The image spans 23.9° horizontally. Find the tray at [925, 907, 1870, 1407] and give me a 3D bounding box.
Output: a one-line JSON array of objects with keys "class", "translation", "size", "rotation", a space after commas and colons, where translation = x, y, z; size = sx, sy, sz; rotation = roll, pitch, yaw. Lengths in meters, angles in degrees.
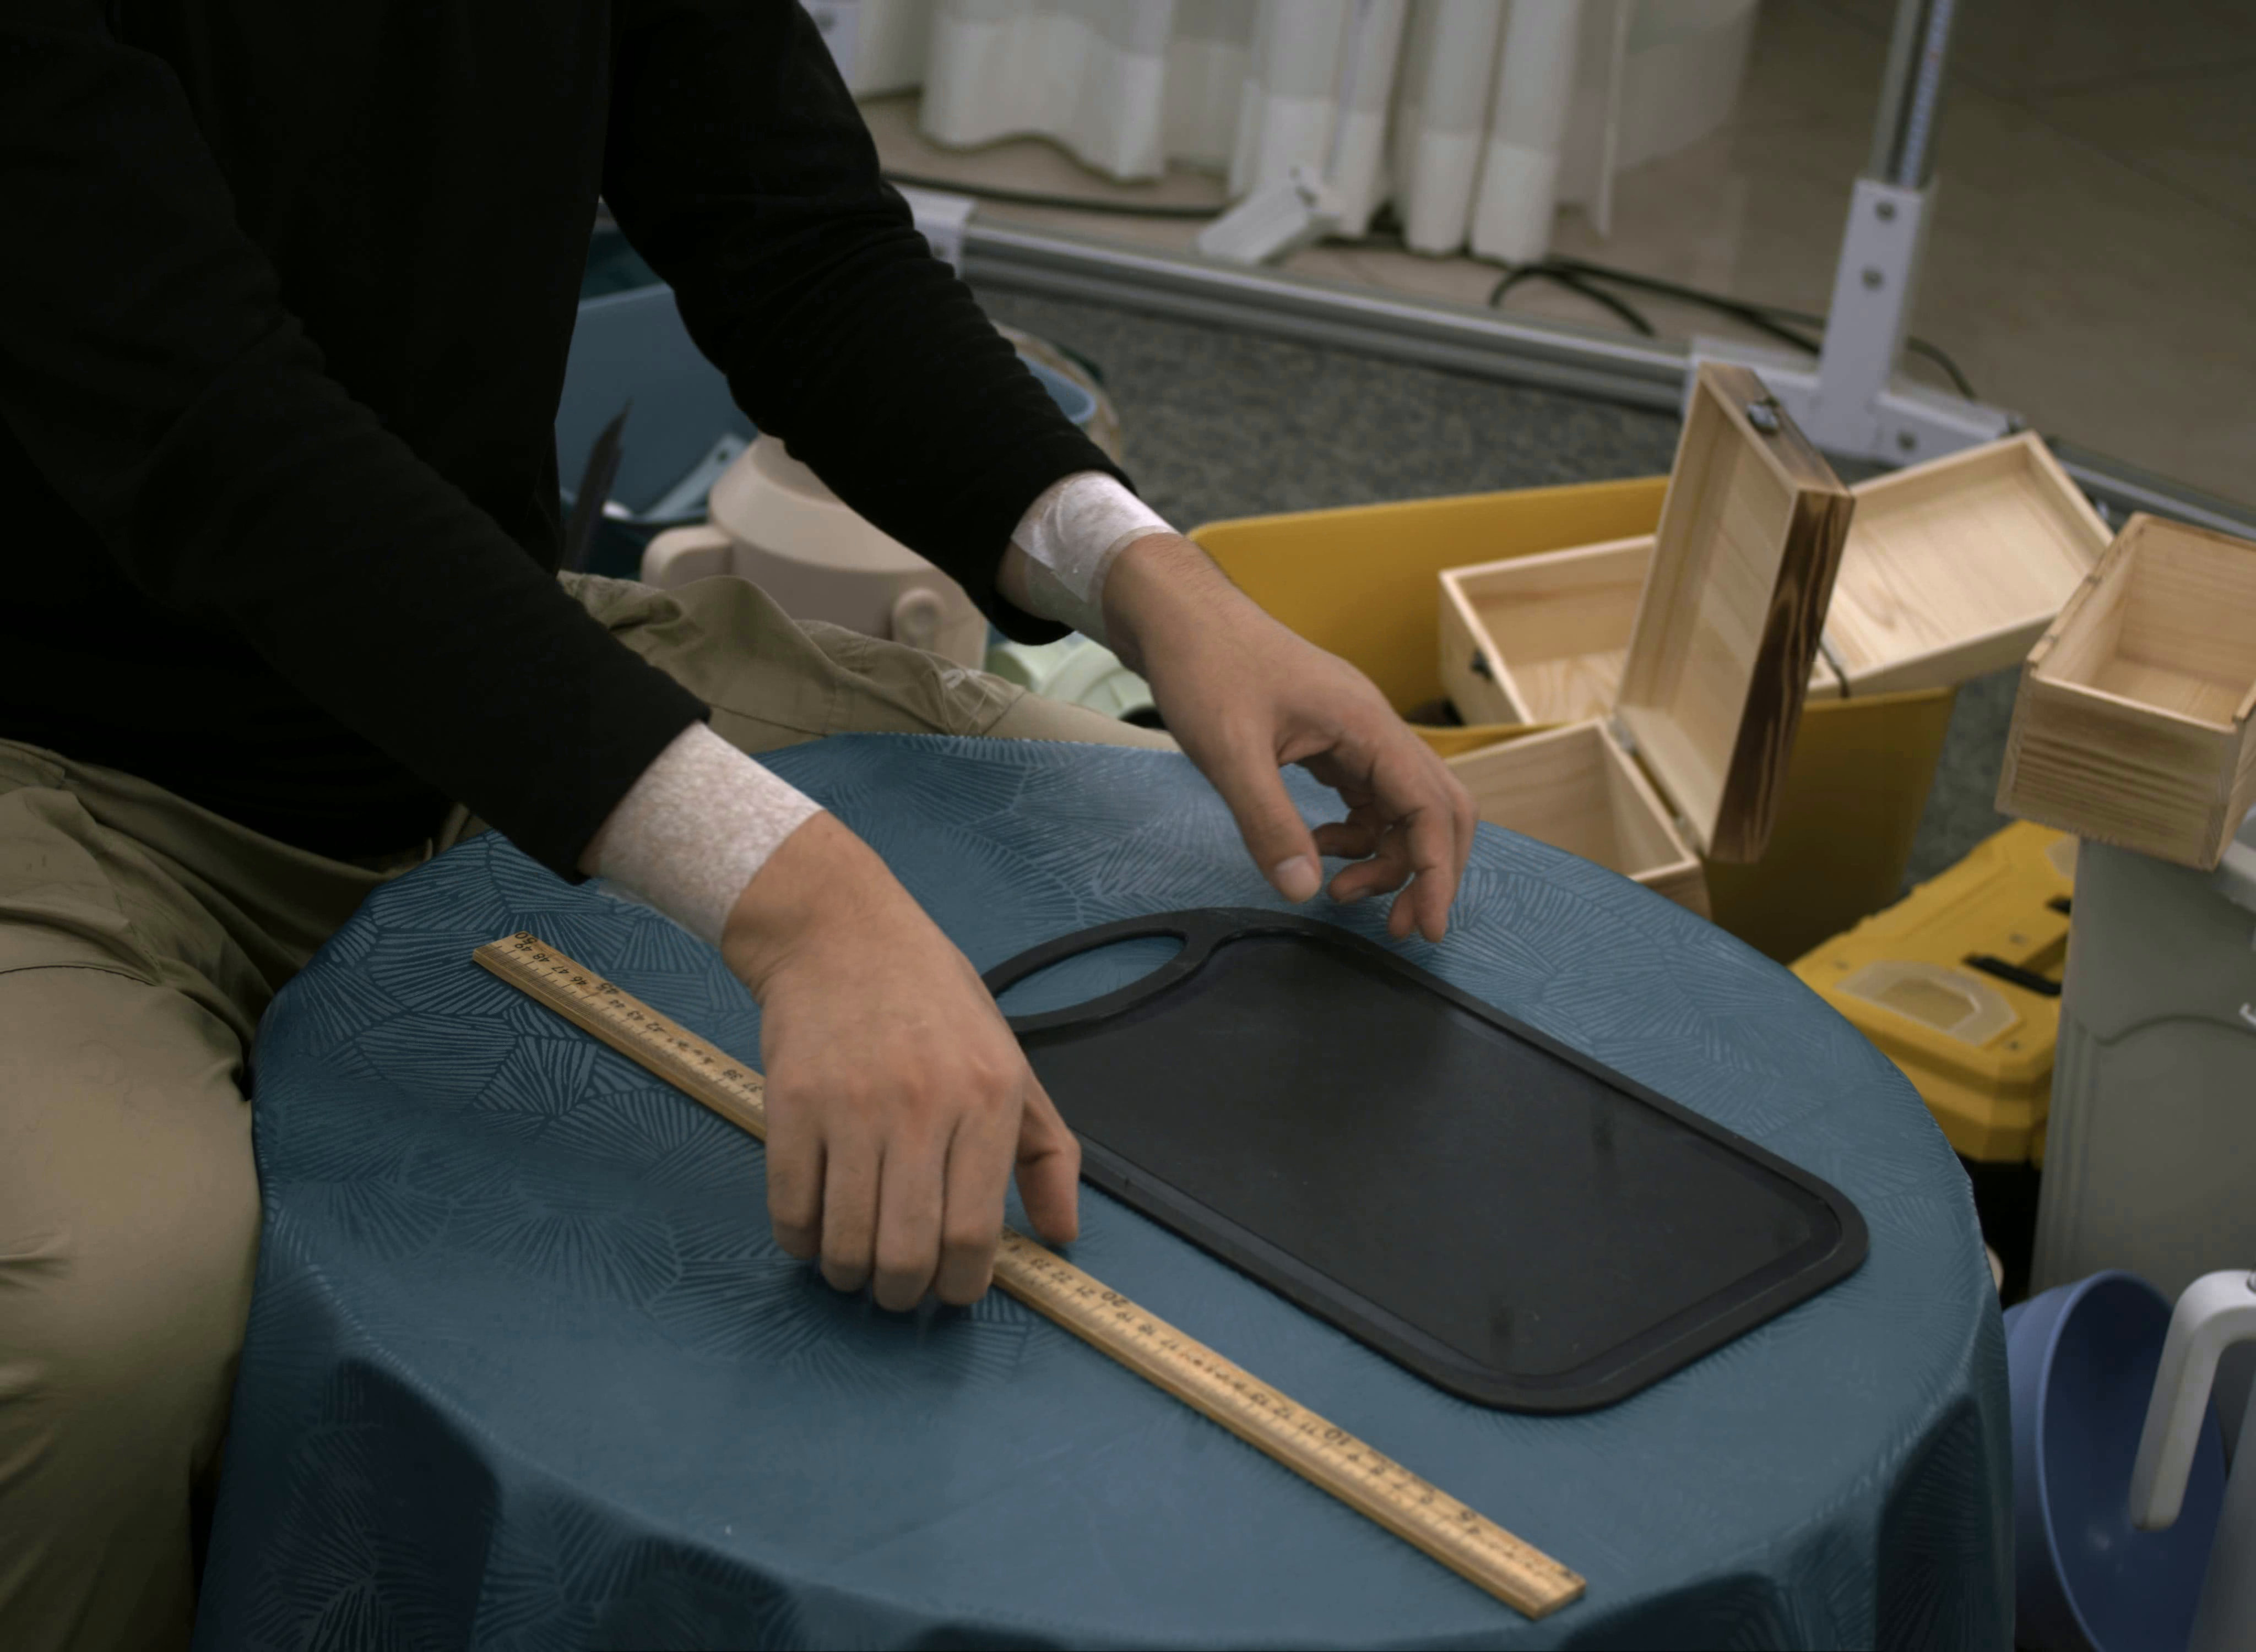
[{"class": "tray", "translation": [0.085, 0.105, 1.849], "size": [0.328, 0.010, 0.210], "rotation": [28, 34, 36]}]

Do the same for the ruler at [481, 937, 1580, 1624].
[{"class": "ruler", "translation": [-0.046, 0.139, 1.755], "size": [0.504, 0.006, 0.026], "rotation": [29, 31, 37]}]
